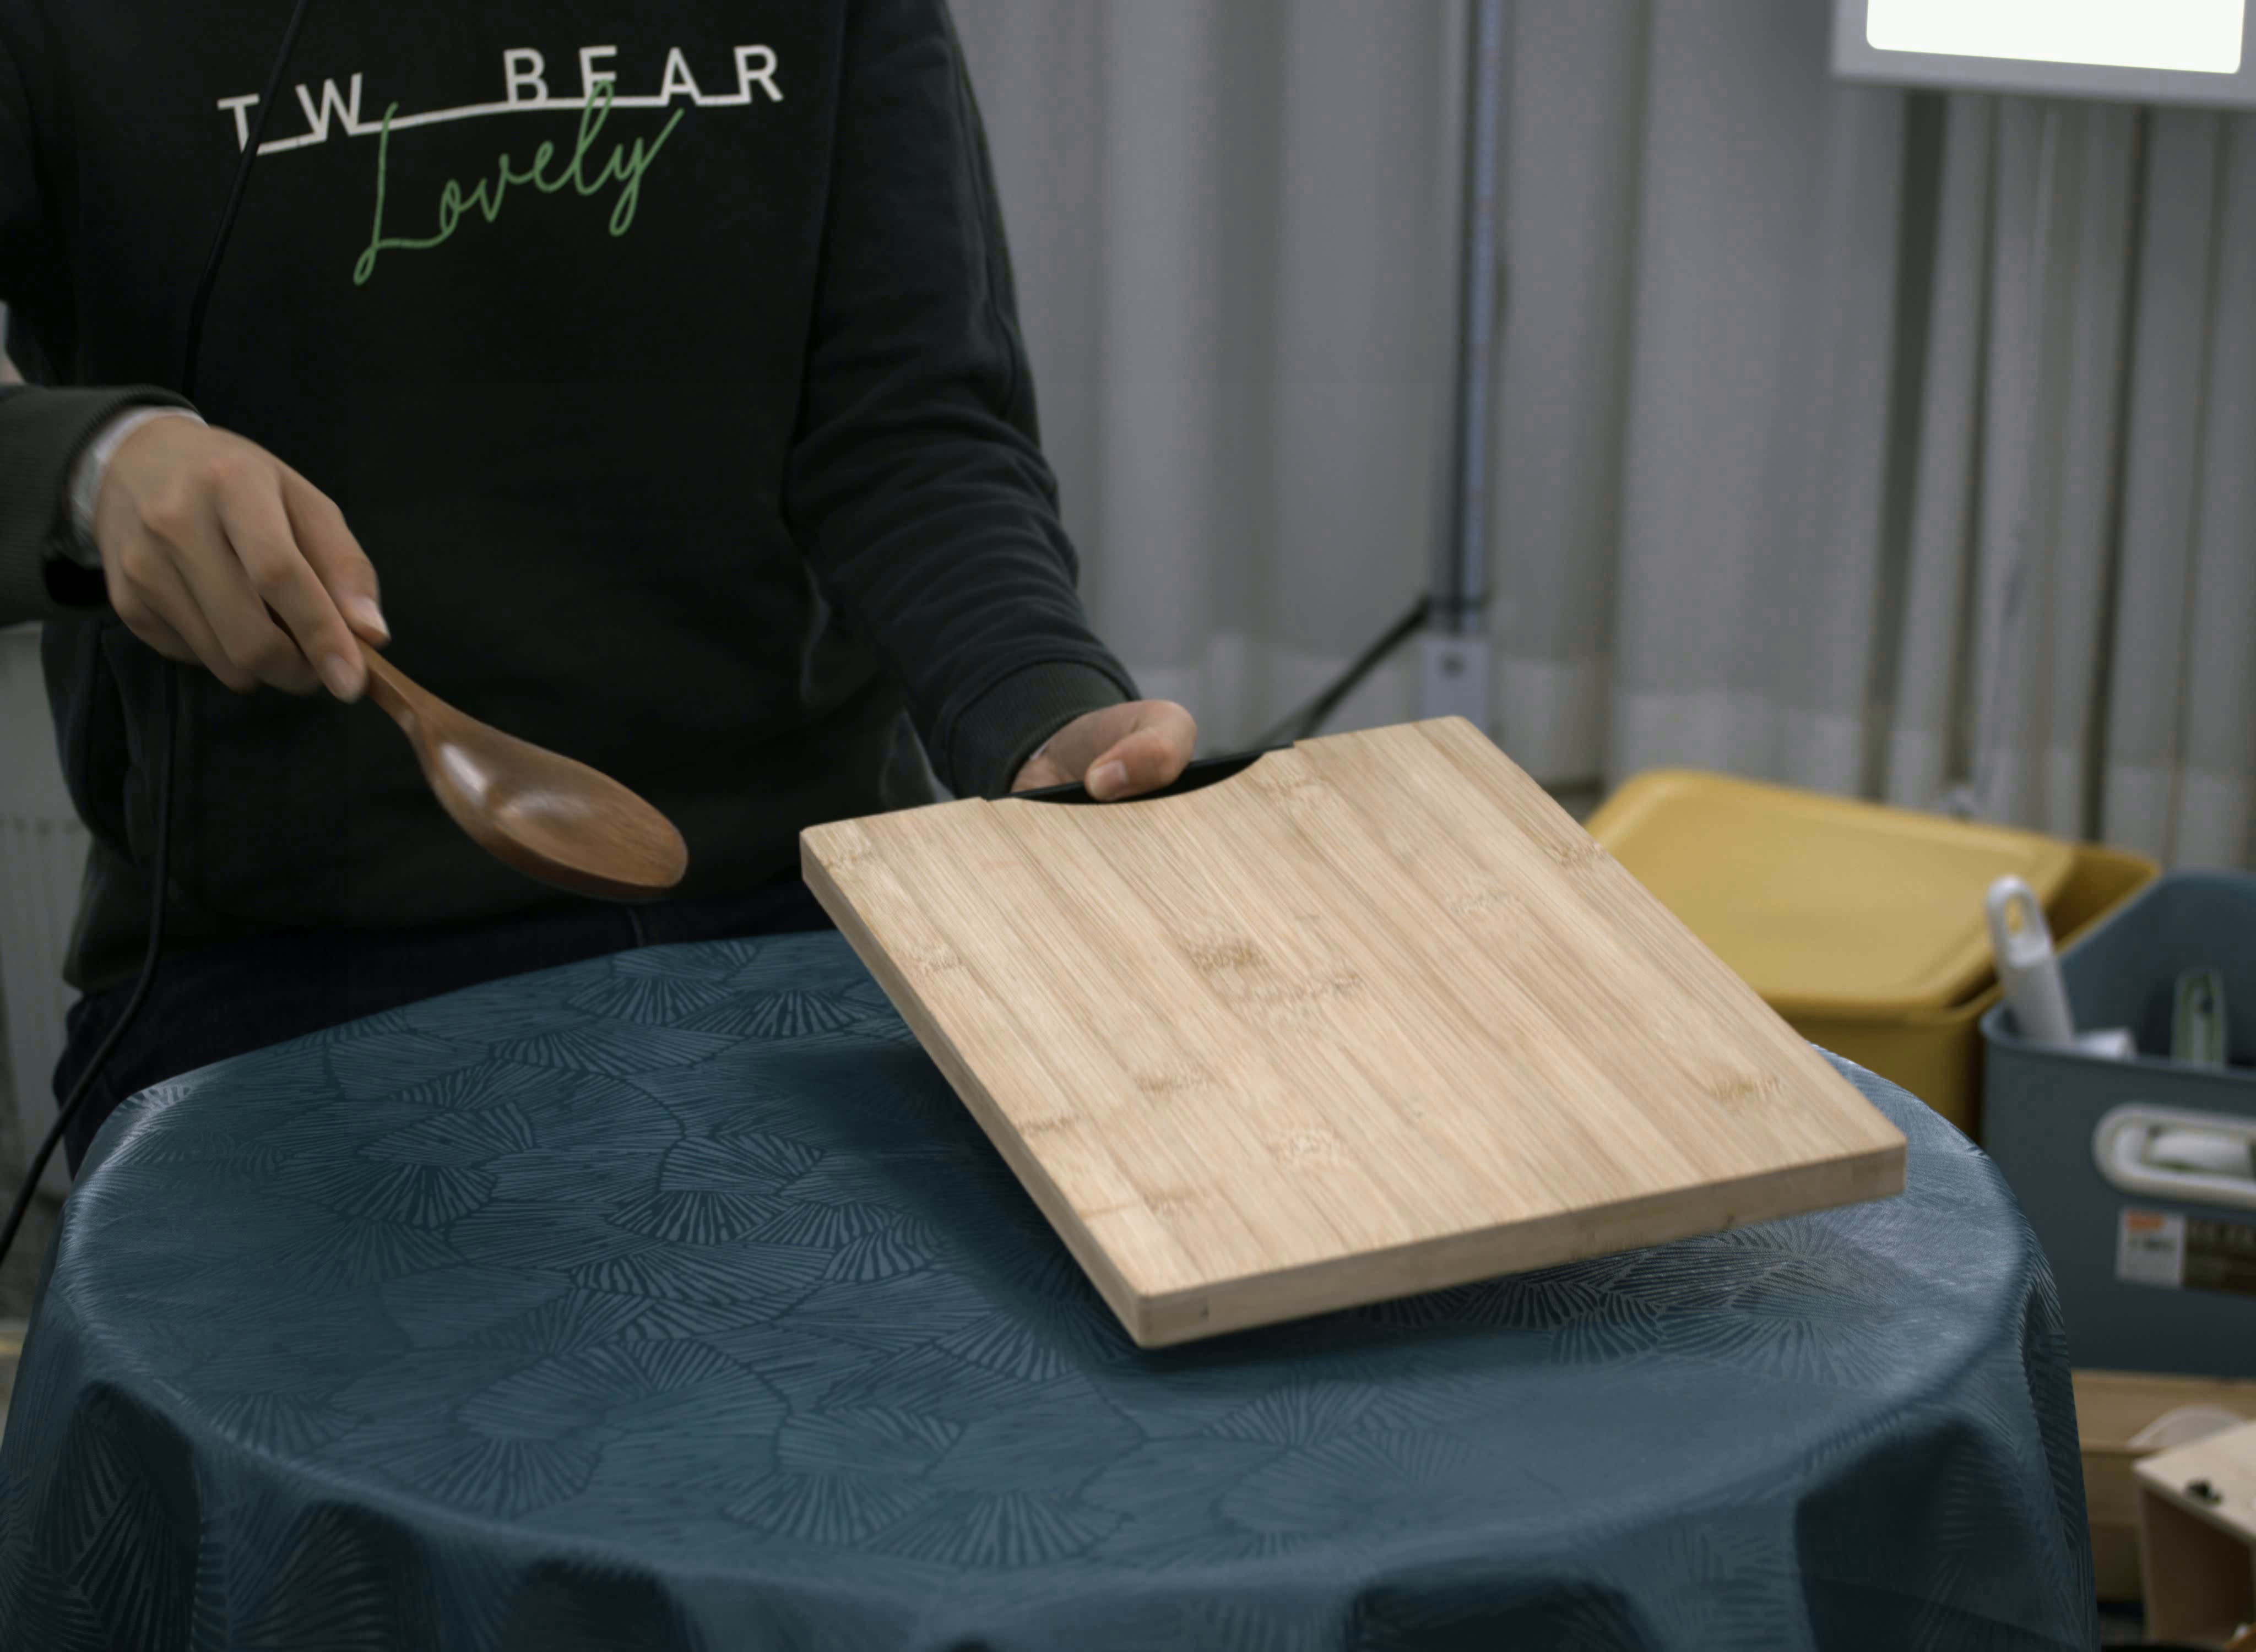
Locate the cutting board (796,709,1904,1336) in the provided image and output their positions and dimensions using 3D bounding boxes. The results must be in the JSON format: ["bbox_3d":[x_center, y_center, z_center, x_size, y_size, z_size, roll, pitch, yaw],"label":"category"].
[{"bbox_3d":[0.058,0.053,1.651,0.251,0.024,0.344,-9,27,-19],"label":"cutting board"}]

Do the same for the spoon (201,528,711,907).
[{"bbox_3d":[-0.206,-0.031,1.564,0.213,0.017,0.076,37,27,30],"label":"spoon"}]
